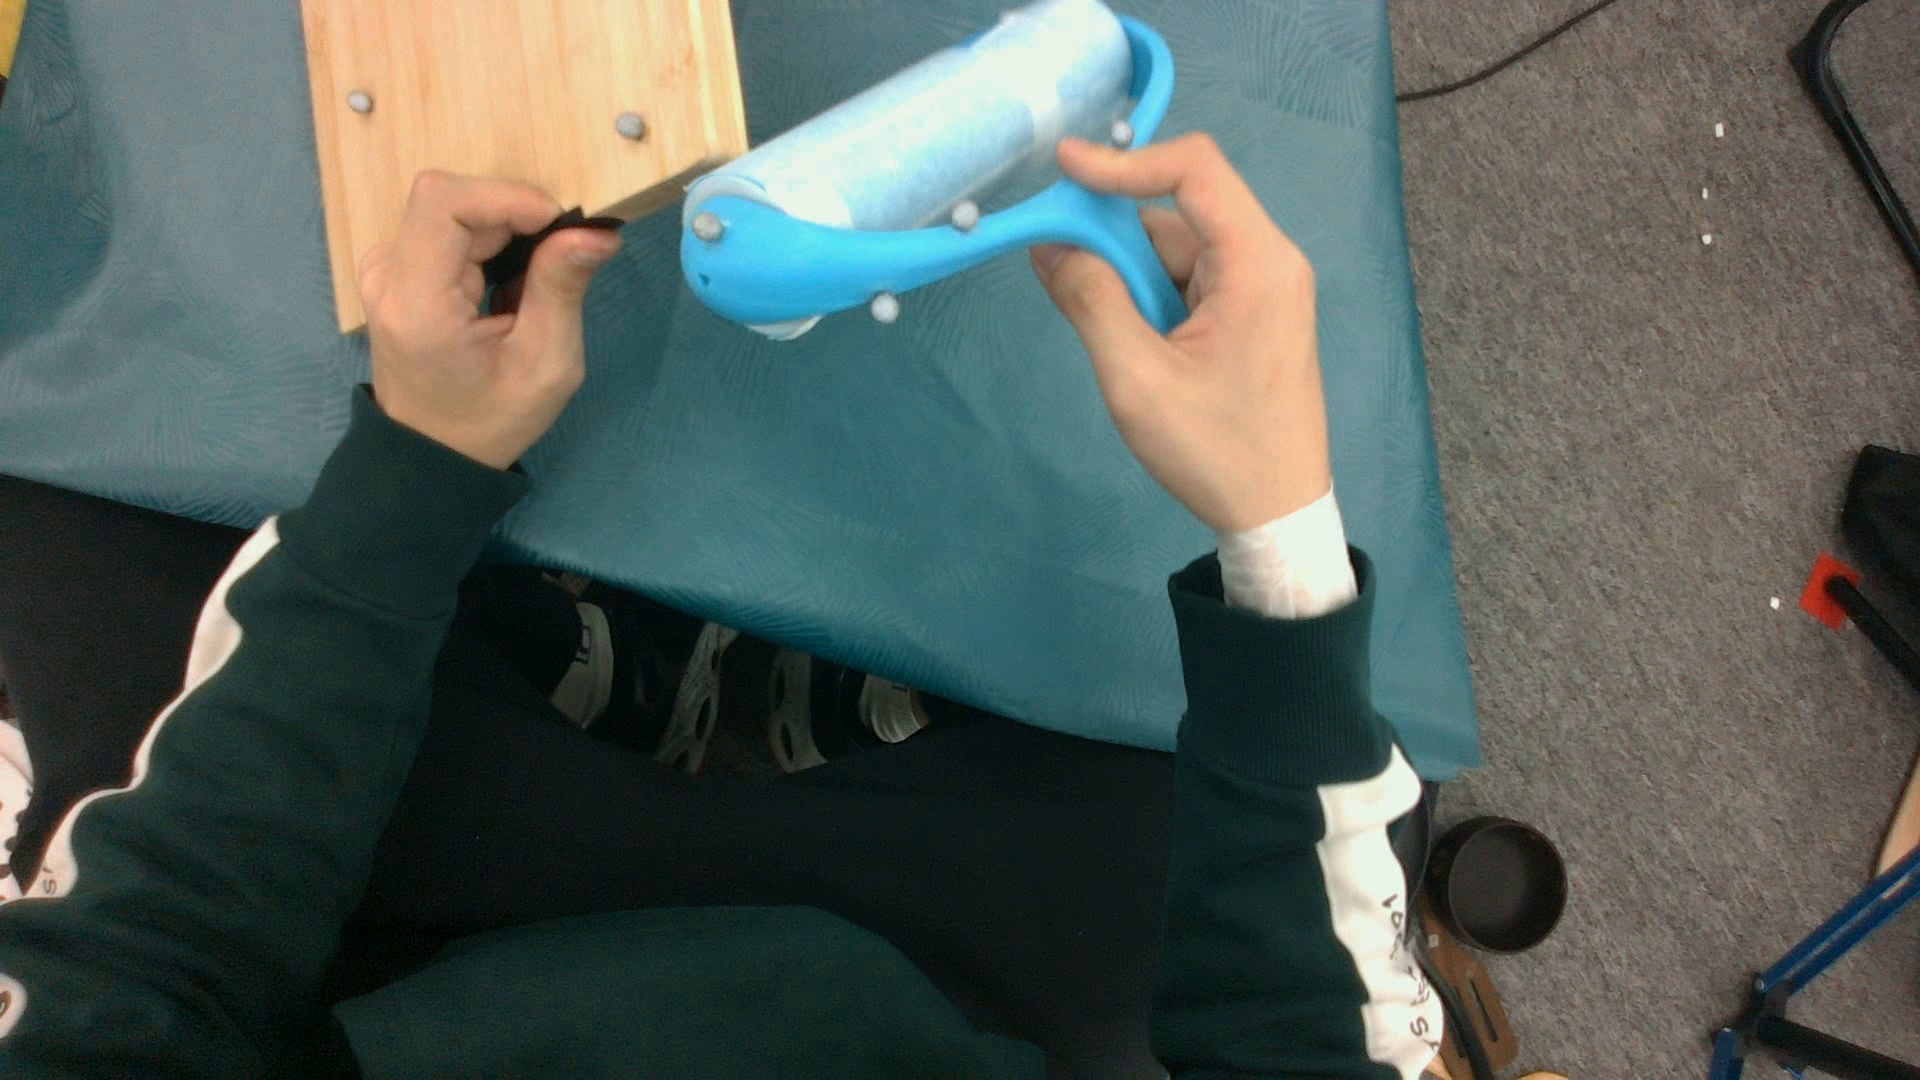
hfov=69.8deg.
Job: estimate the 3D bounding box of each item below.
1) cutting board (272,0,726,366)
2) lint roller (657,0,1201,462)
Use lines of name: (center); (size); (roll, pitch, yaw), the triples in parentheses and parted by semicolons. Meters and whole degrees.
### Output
cutting board: (-0.195, -0.261, 0.506); (0.023, 0.250, 0.349); (-7, 85, -50)
lint roller: (0.026, -0.105, 0.472); (0.180, 0.067, 0.230); (39, 49, 0)
